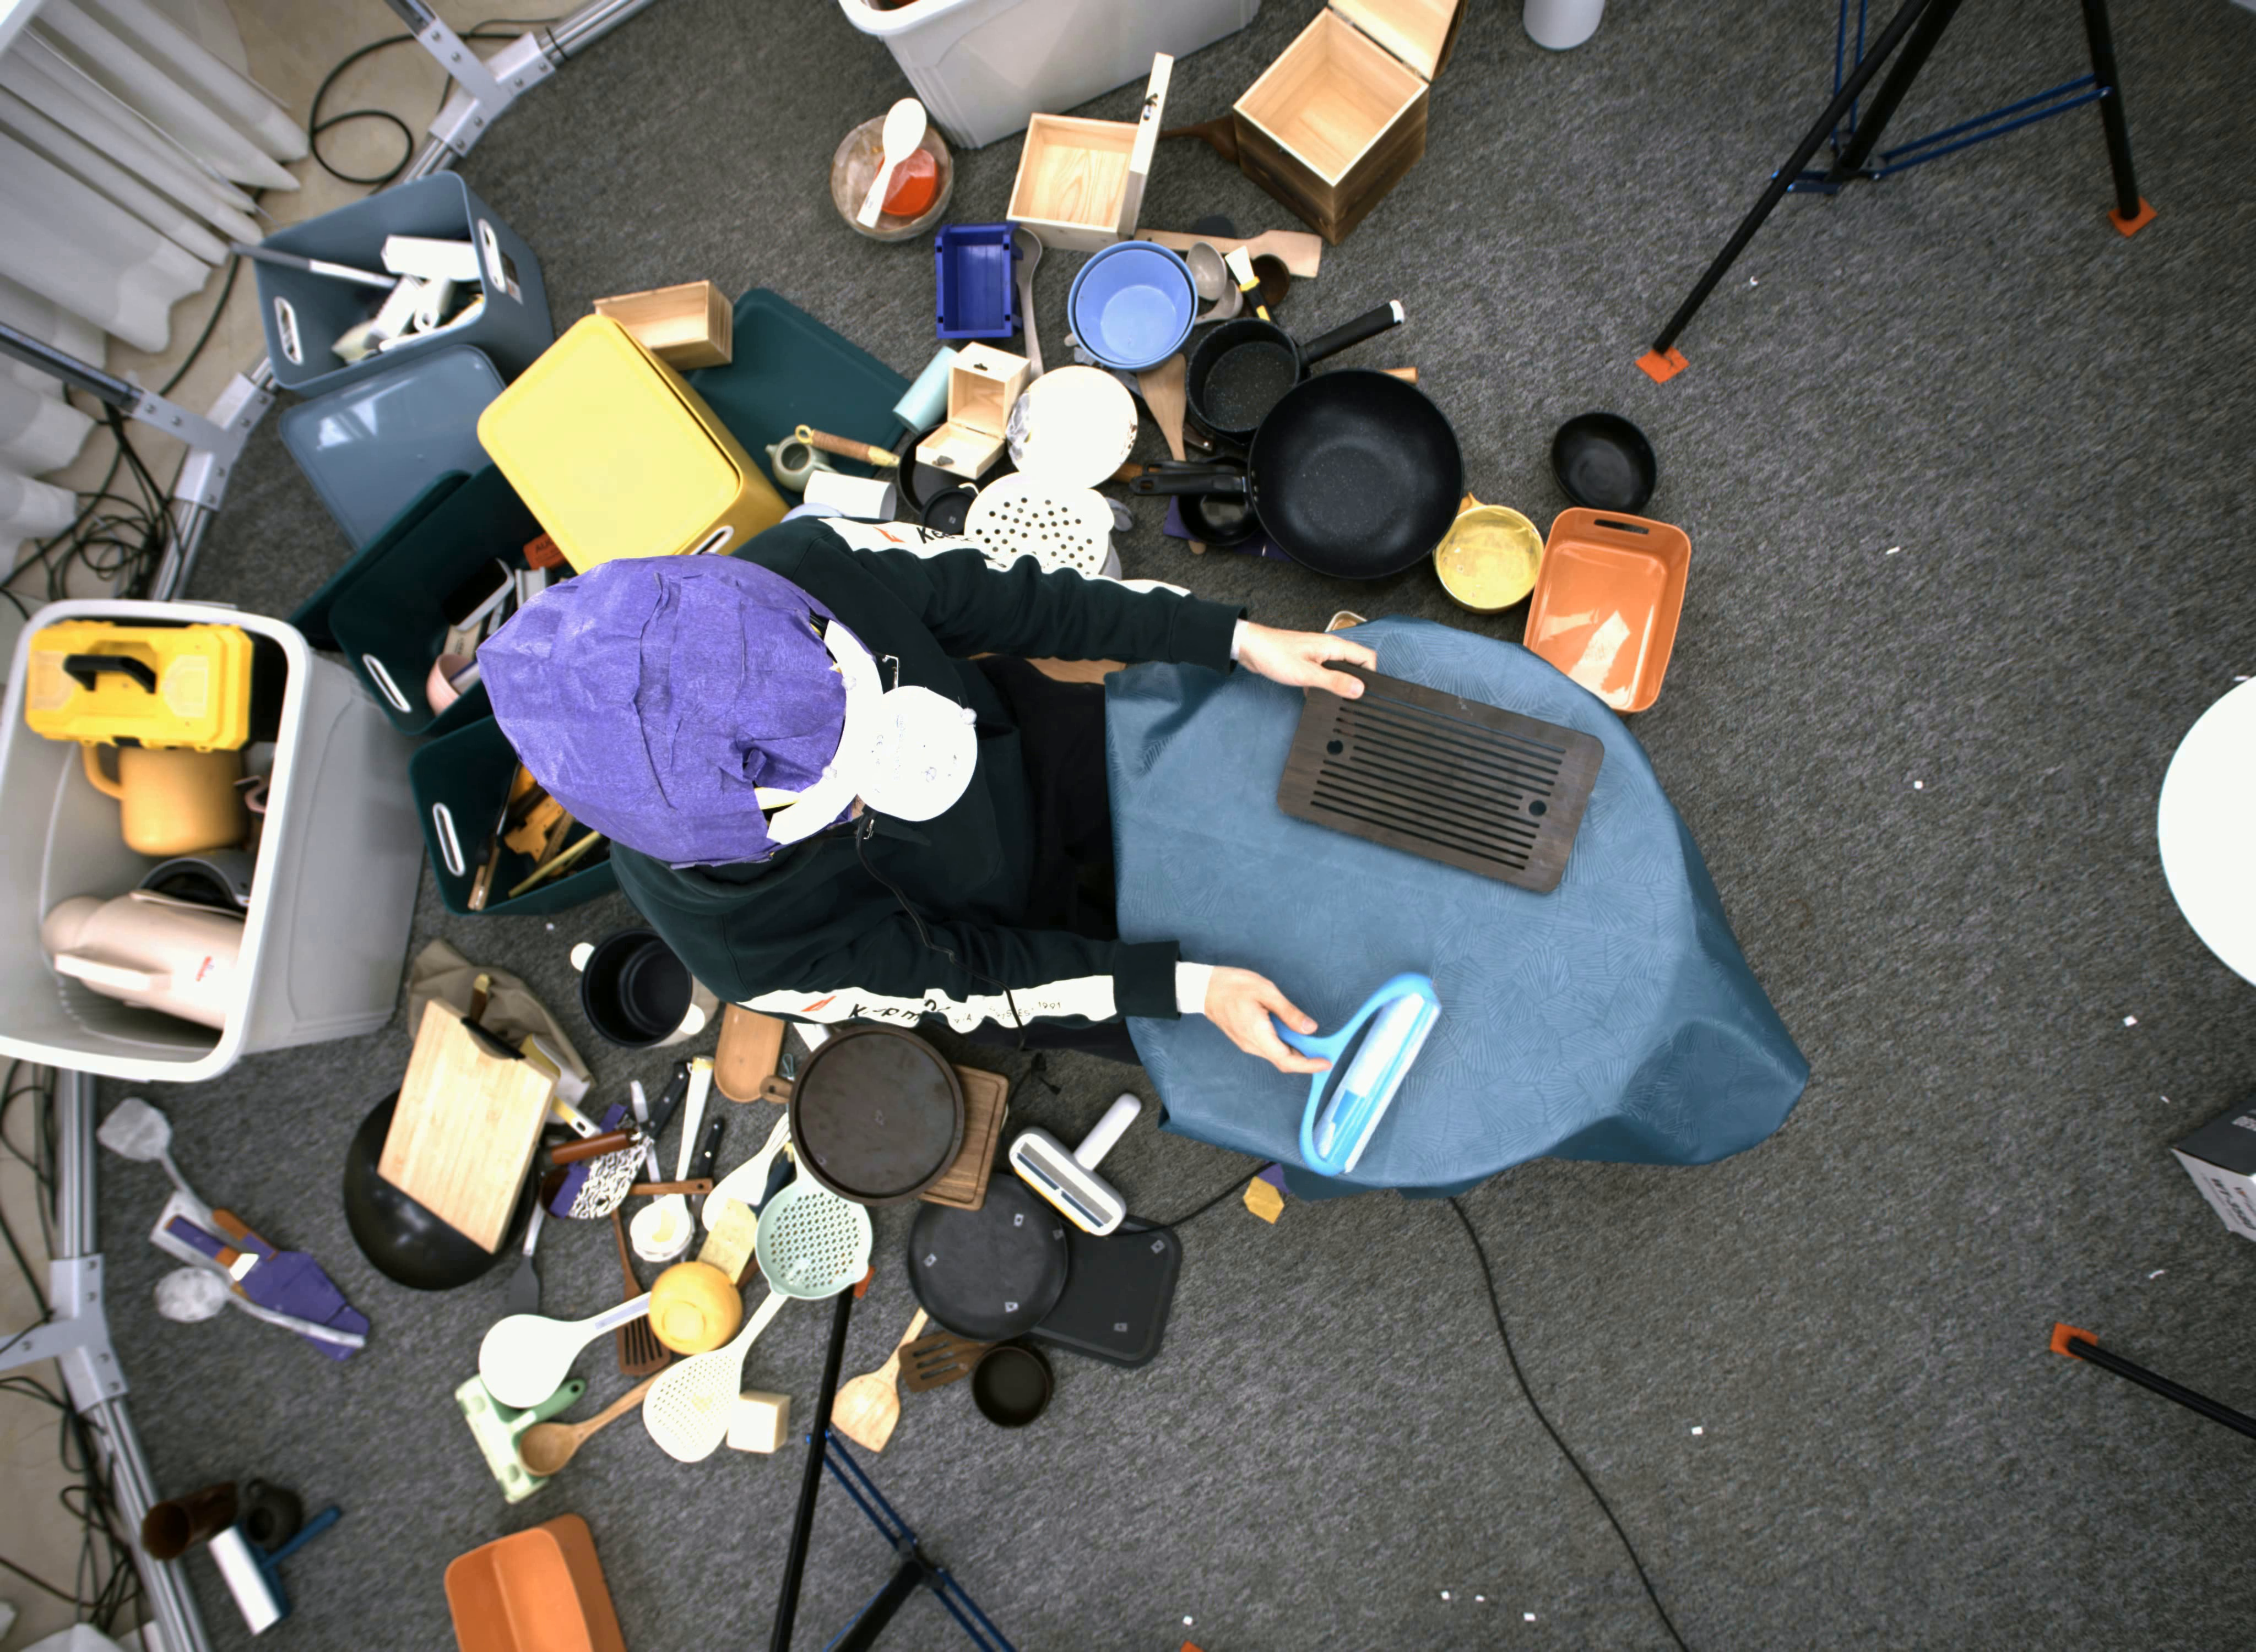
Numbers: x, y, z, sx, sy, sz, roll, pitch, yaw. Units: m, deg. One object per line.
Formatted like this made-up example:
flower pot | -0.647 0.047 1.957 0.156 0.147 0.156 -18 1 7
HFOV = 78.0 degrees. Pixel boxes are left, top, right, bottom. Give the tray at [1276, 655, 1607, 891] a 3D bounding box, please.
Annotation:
tray | 0.319 -0.058 1.419 0.306 0.018 0.172 18 107 10

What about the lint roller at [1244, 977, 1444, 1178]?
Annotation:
lint roller | 0.199 0.230 1.415 0.180 0.067 0.230 26 98 1
